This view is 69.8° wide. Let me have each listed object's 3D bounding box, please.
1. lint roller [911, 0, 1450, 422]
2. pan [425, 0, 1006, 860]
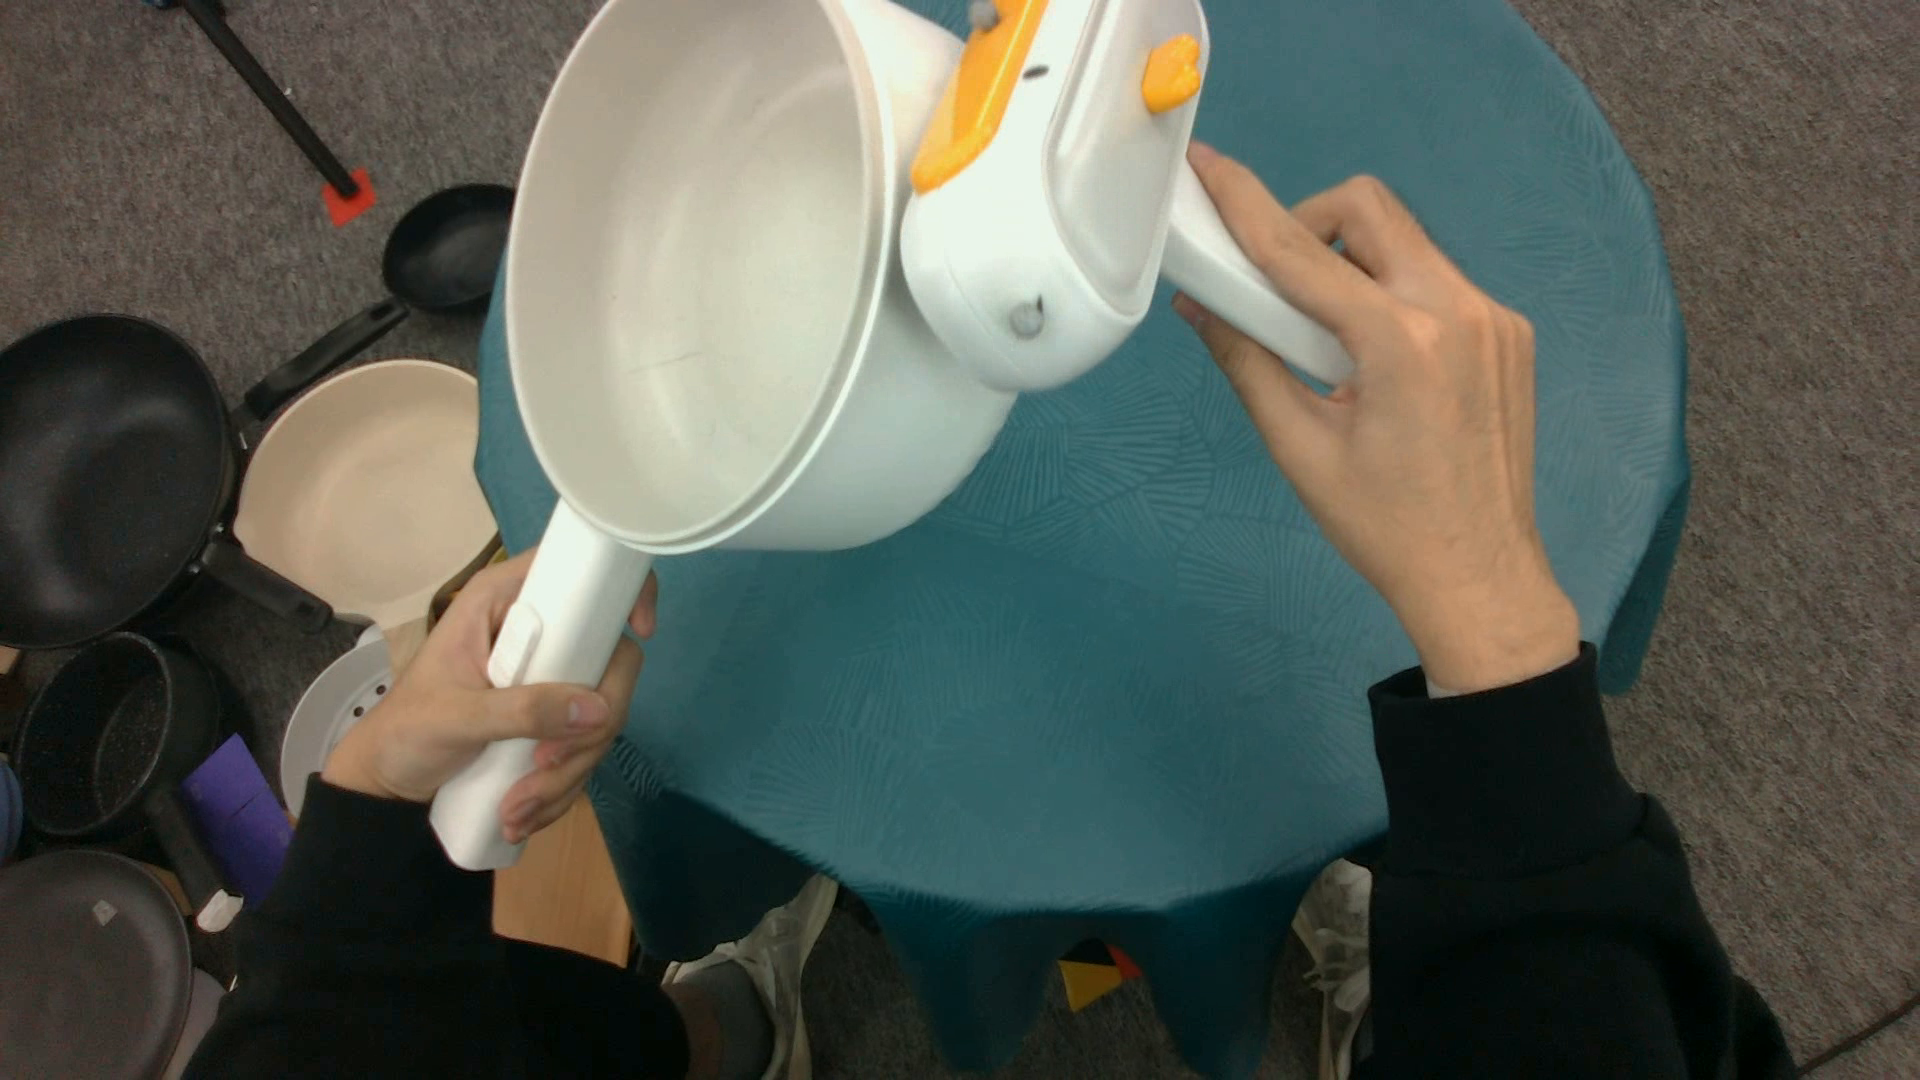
[{"bbox_3d":[0.079,-0.092,0.437,0.074,0.192,0.194,-32,34,36],"label":"lint roller"},{"bbox_3d":[-0.097,-0.031,0.515,0.201,0.102,0.353,41,113,35],"label":"pan"}]
